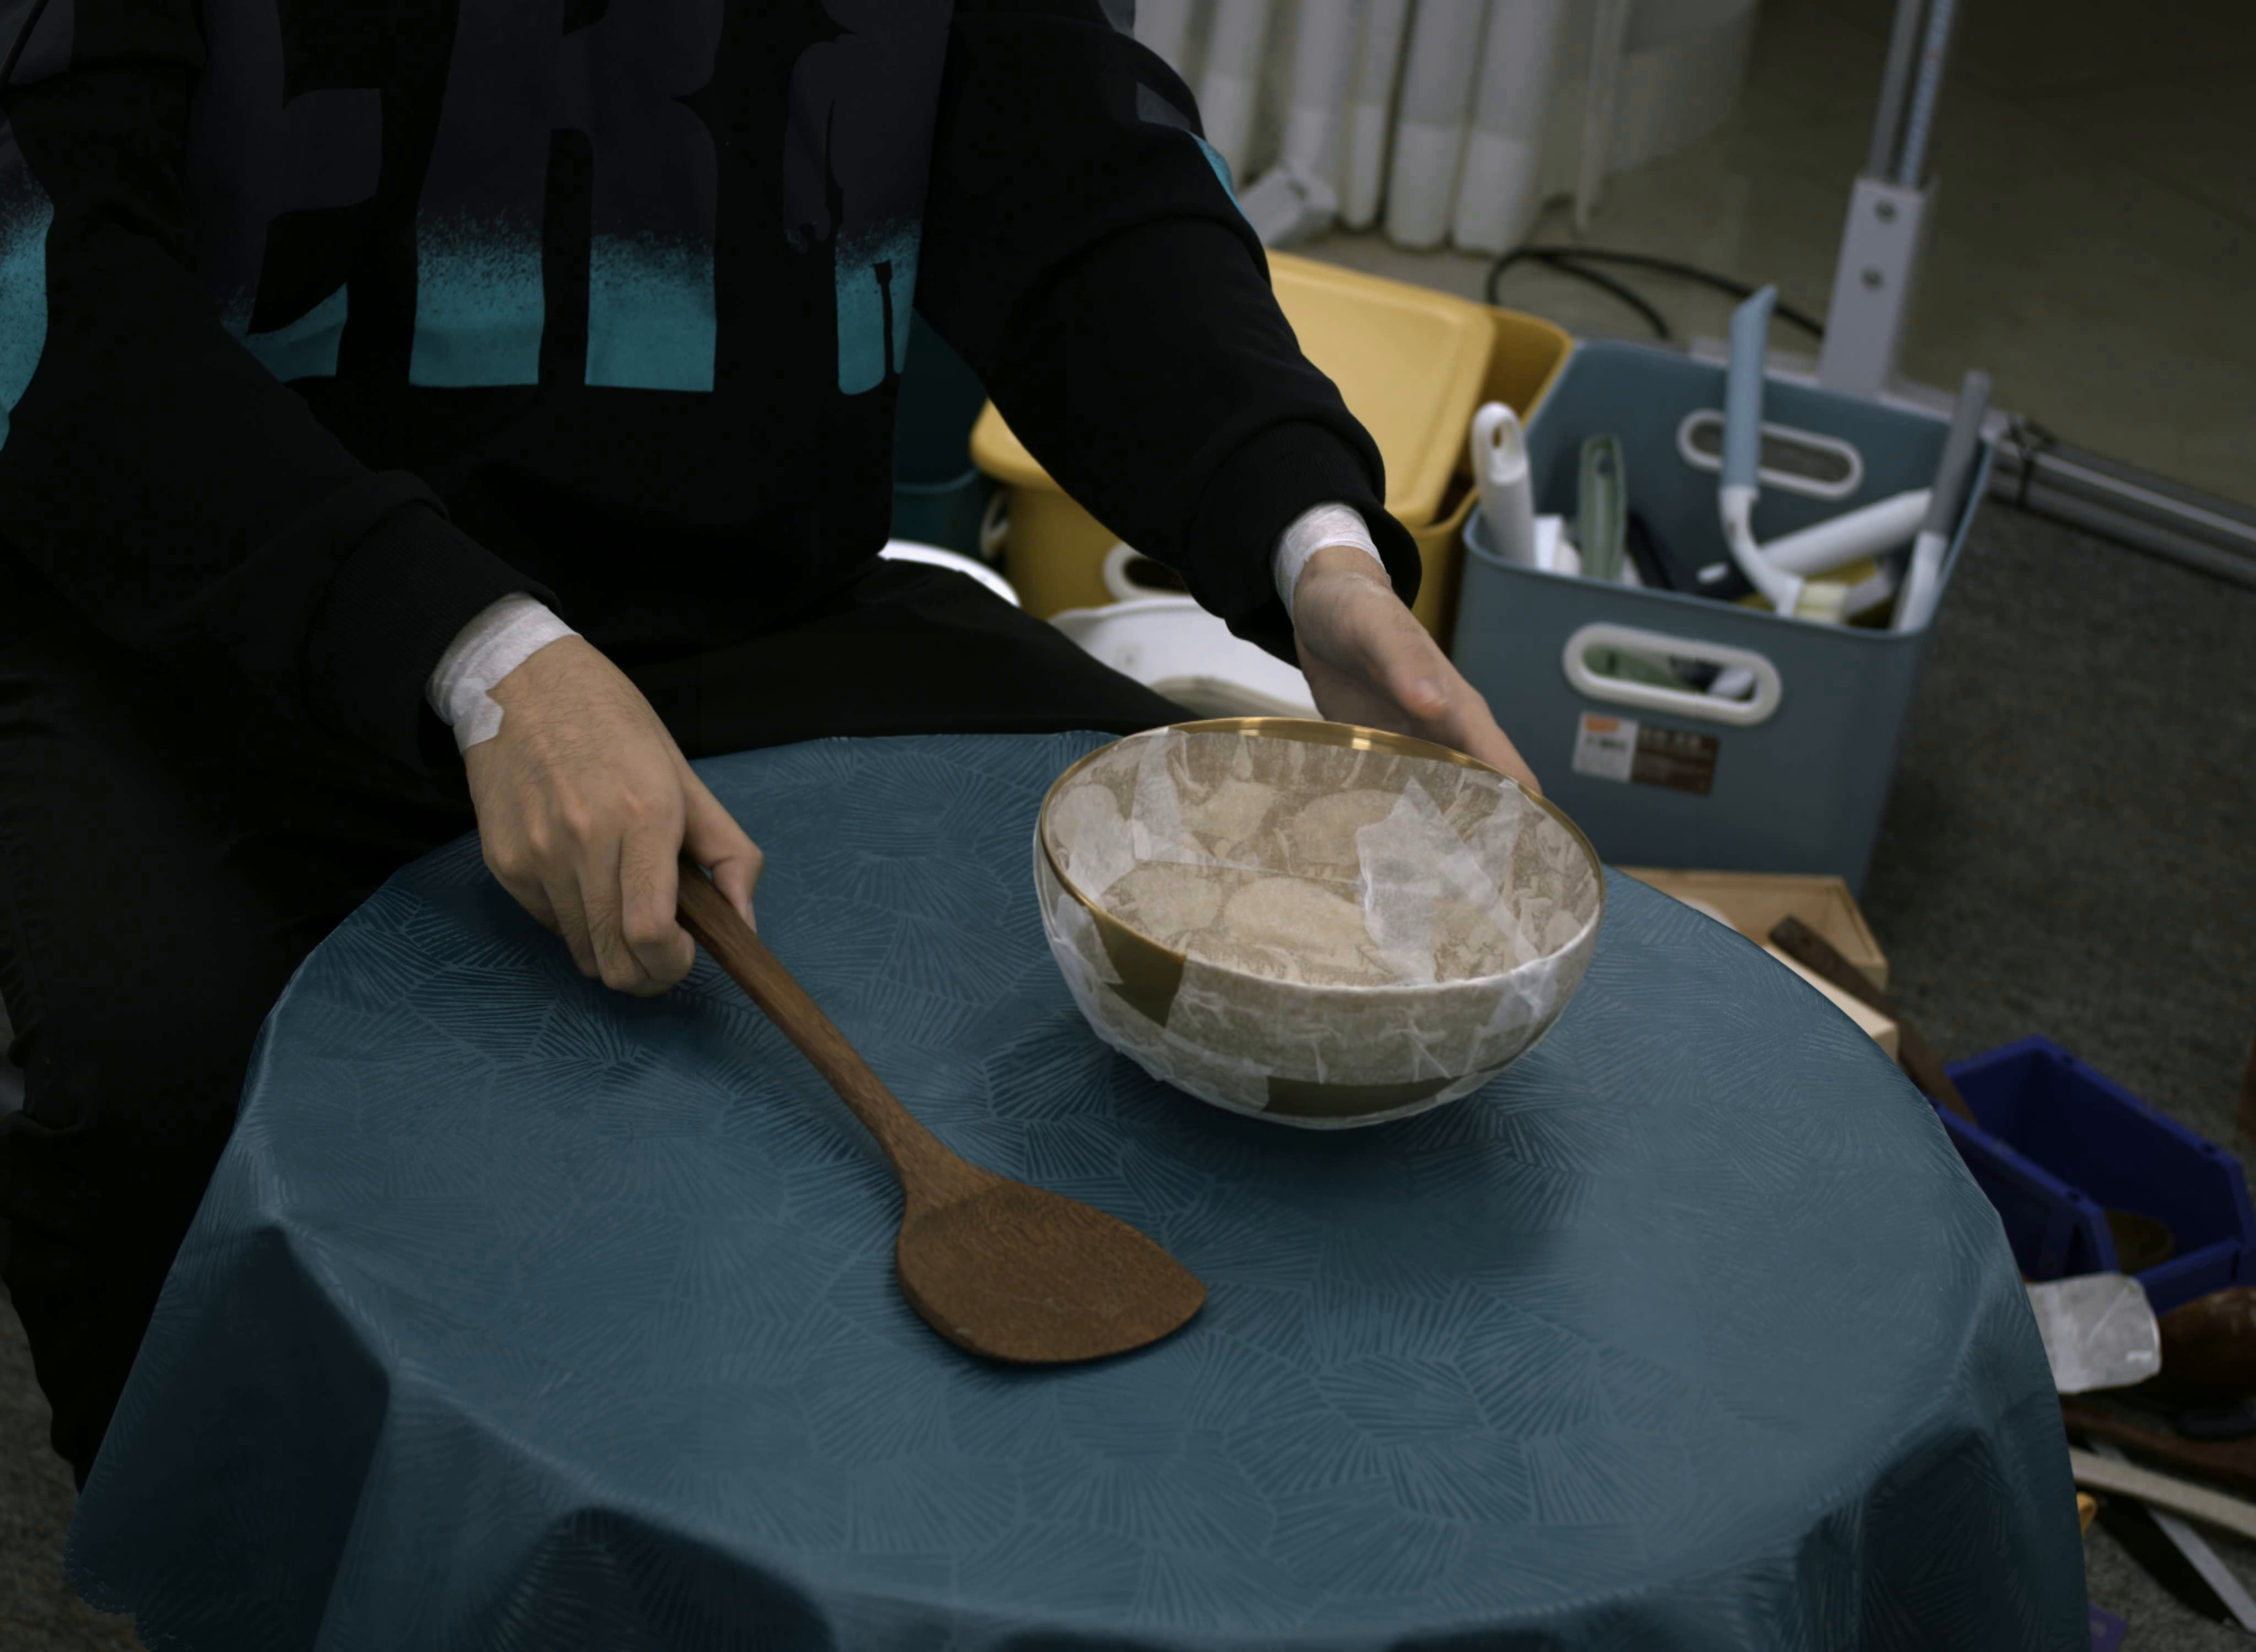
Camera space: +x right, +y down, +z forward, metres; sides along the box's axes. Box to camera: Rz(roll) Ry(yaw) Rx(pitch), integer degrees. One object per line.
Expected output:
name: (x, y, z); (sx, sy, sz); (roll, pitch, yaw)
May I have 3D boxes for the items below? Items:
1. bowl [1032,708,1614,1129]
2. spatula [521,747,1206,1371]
bowl: (0.065, 0.045, 1.868); (0.214, 0.094, 0.216); (4, 27, -2)
spatula: (-0.110, 0.071, 1.831); (0.095, 0.016, 0.389); (-12, 39, -34)
